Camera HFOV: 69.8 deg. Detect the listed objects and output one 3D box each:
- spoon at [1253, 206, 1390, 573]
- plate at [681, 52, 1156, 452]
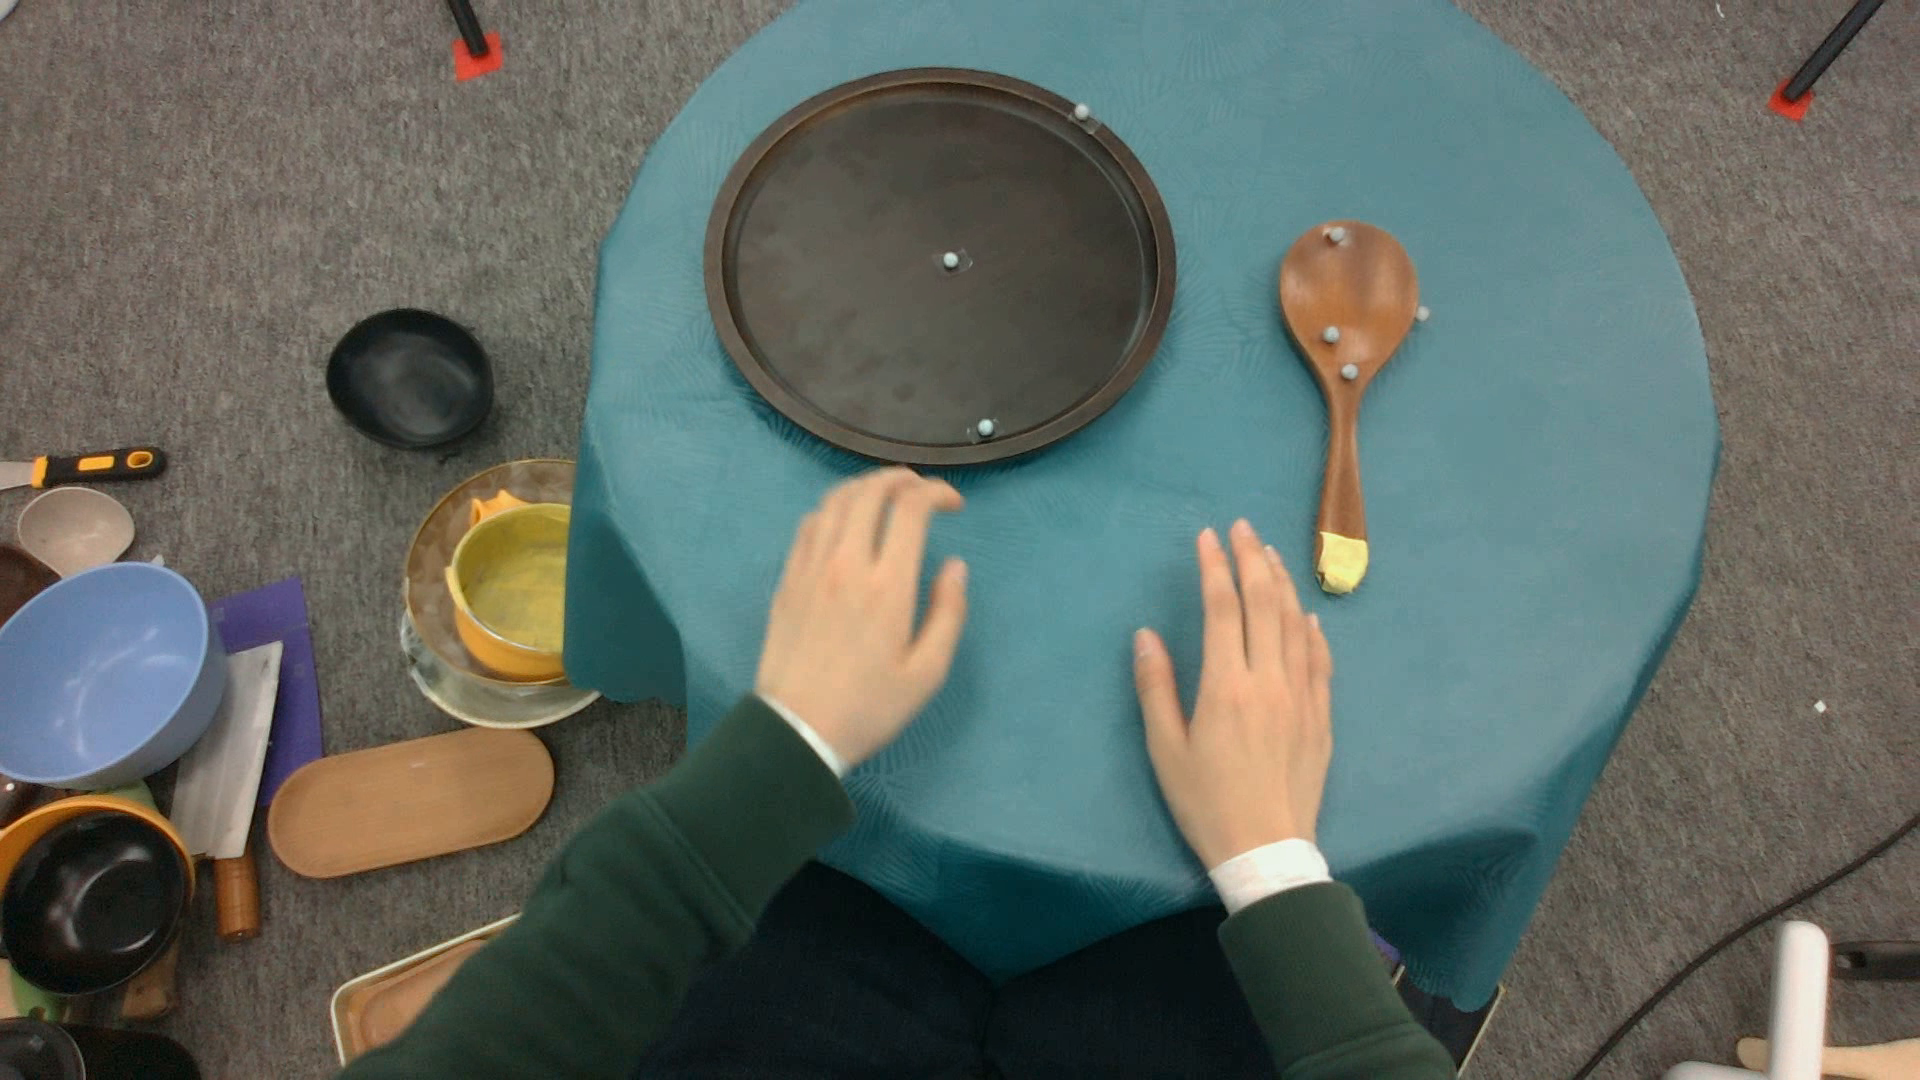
[{"bbox_3d":[0.188,-0.083,0.720,0.075,0.017,0.216,6,66,0],"label":"spoon"},{"bbox_3d":[-0.022,-0.158,0.741,0.255,0.029,0.255,1,65,-2],"label":"plate"}]
